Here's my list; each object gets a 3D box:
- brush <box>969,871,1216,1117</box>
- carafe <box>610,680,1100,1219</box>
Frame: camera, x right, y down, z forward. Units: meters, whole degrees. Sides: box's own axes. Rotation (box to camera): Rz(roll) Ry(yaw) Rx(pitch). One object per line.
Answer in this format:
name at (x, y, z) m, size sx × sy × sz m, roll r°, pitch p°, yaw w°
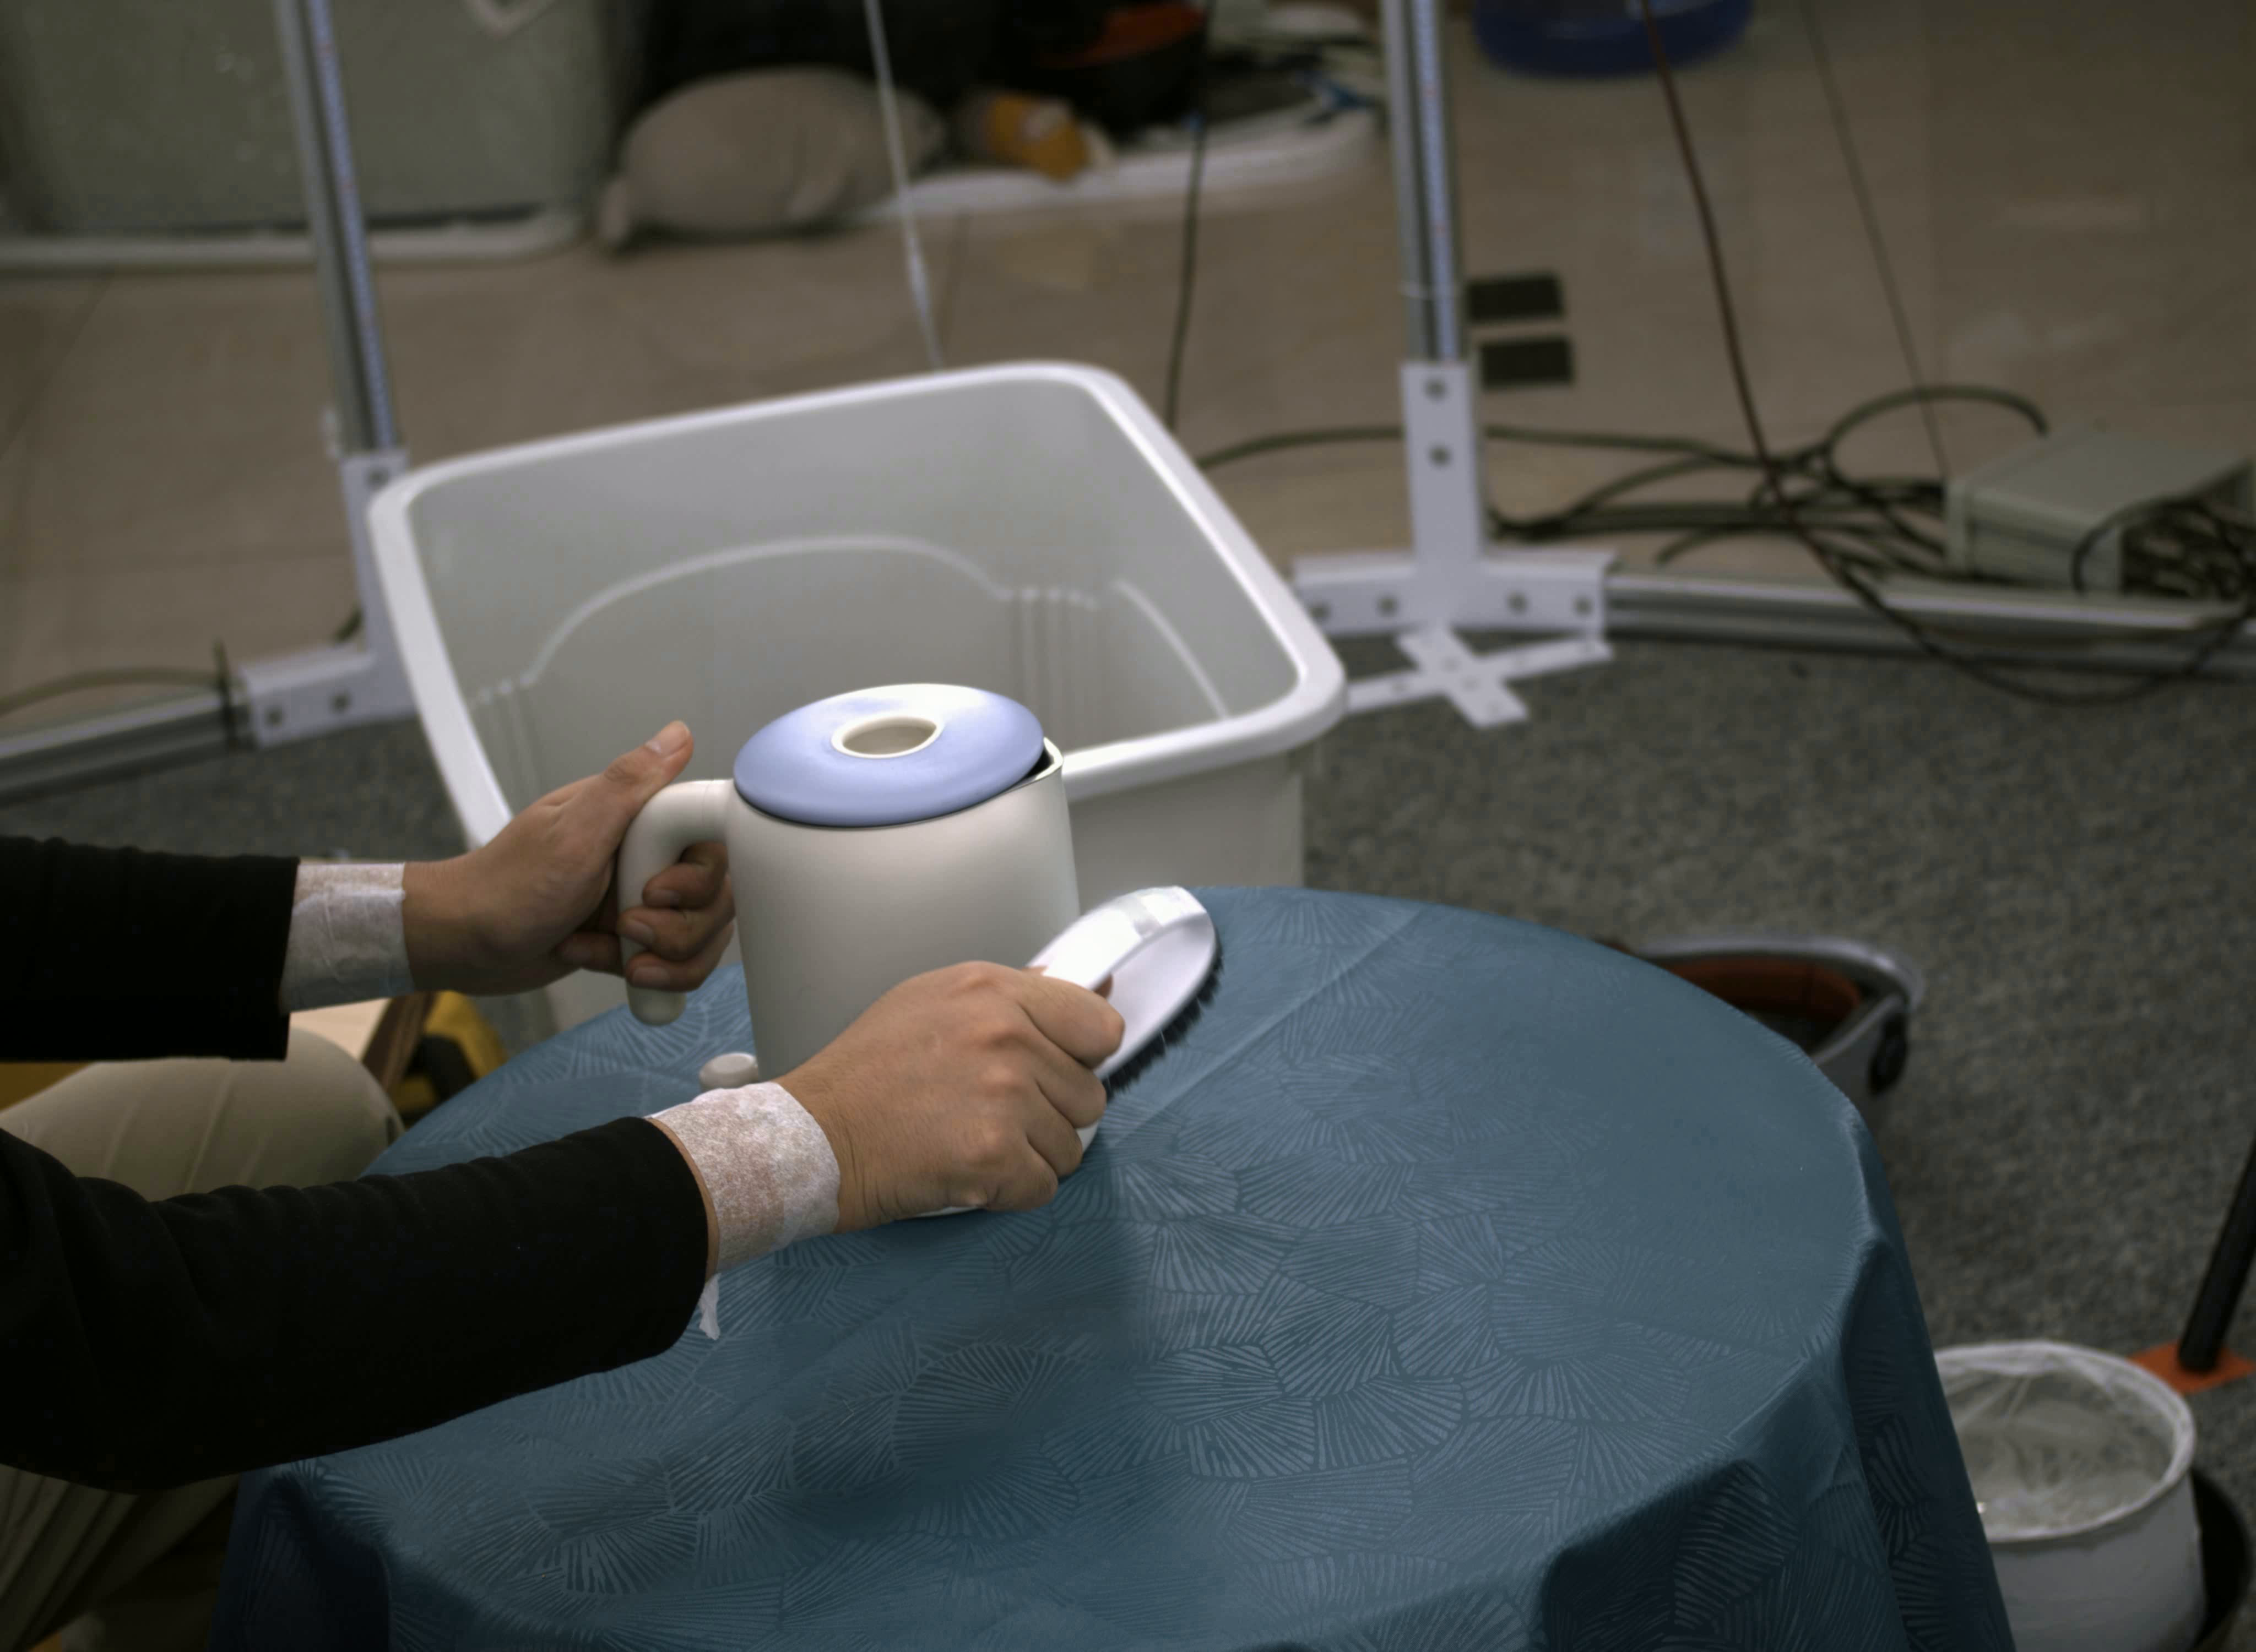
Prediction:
brush at (-0.014, 0.056, 2.013) m, size 0.099 × 0.073 × 0.050 m, roll -41°, pitch 75°, yaw -7°
carafe at (-0.106, 0.047, 2.167) m, size 0.191 × 0.185 × 0.130 m, roll 0°, pitch 26°, yaw 15°
